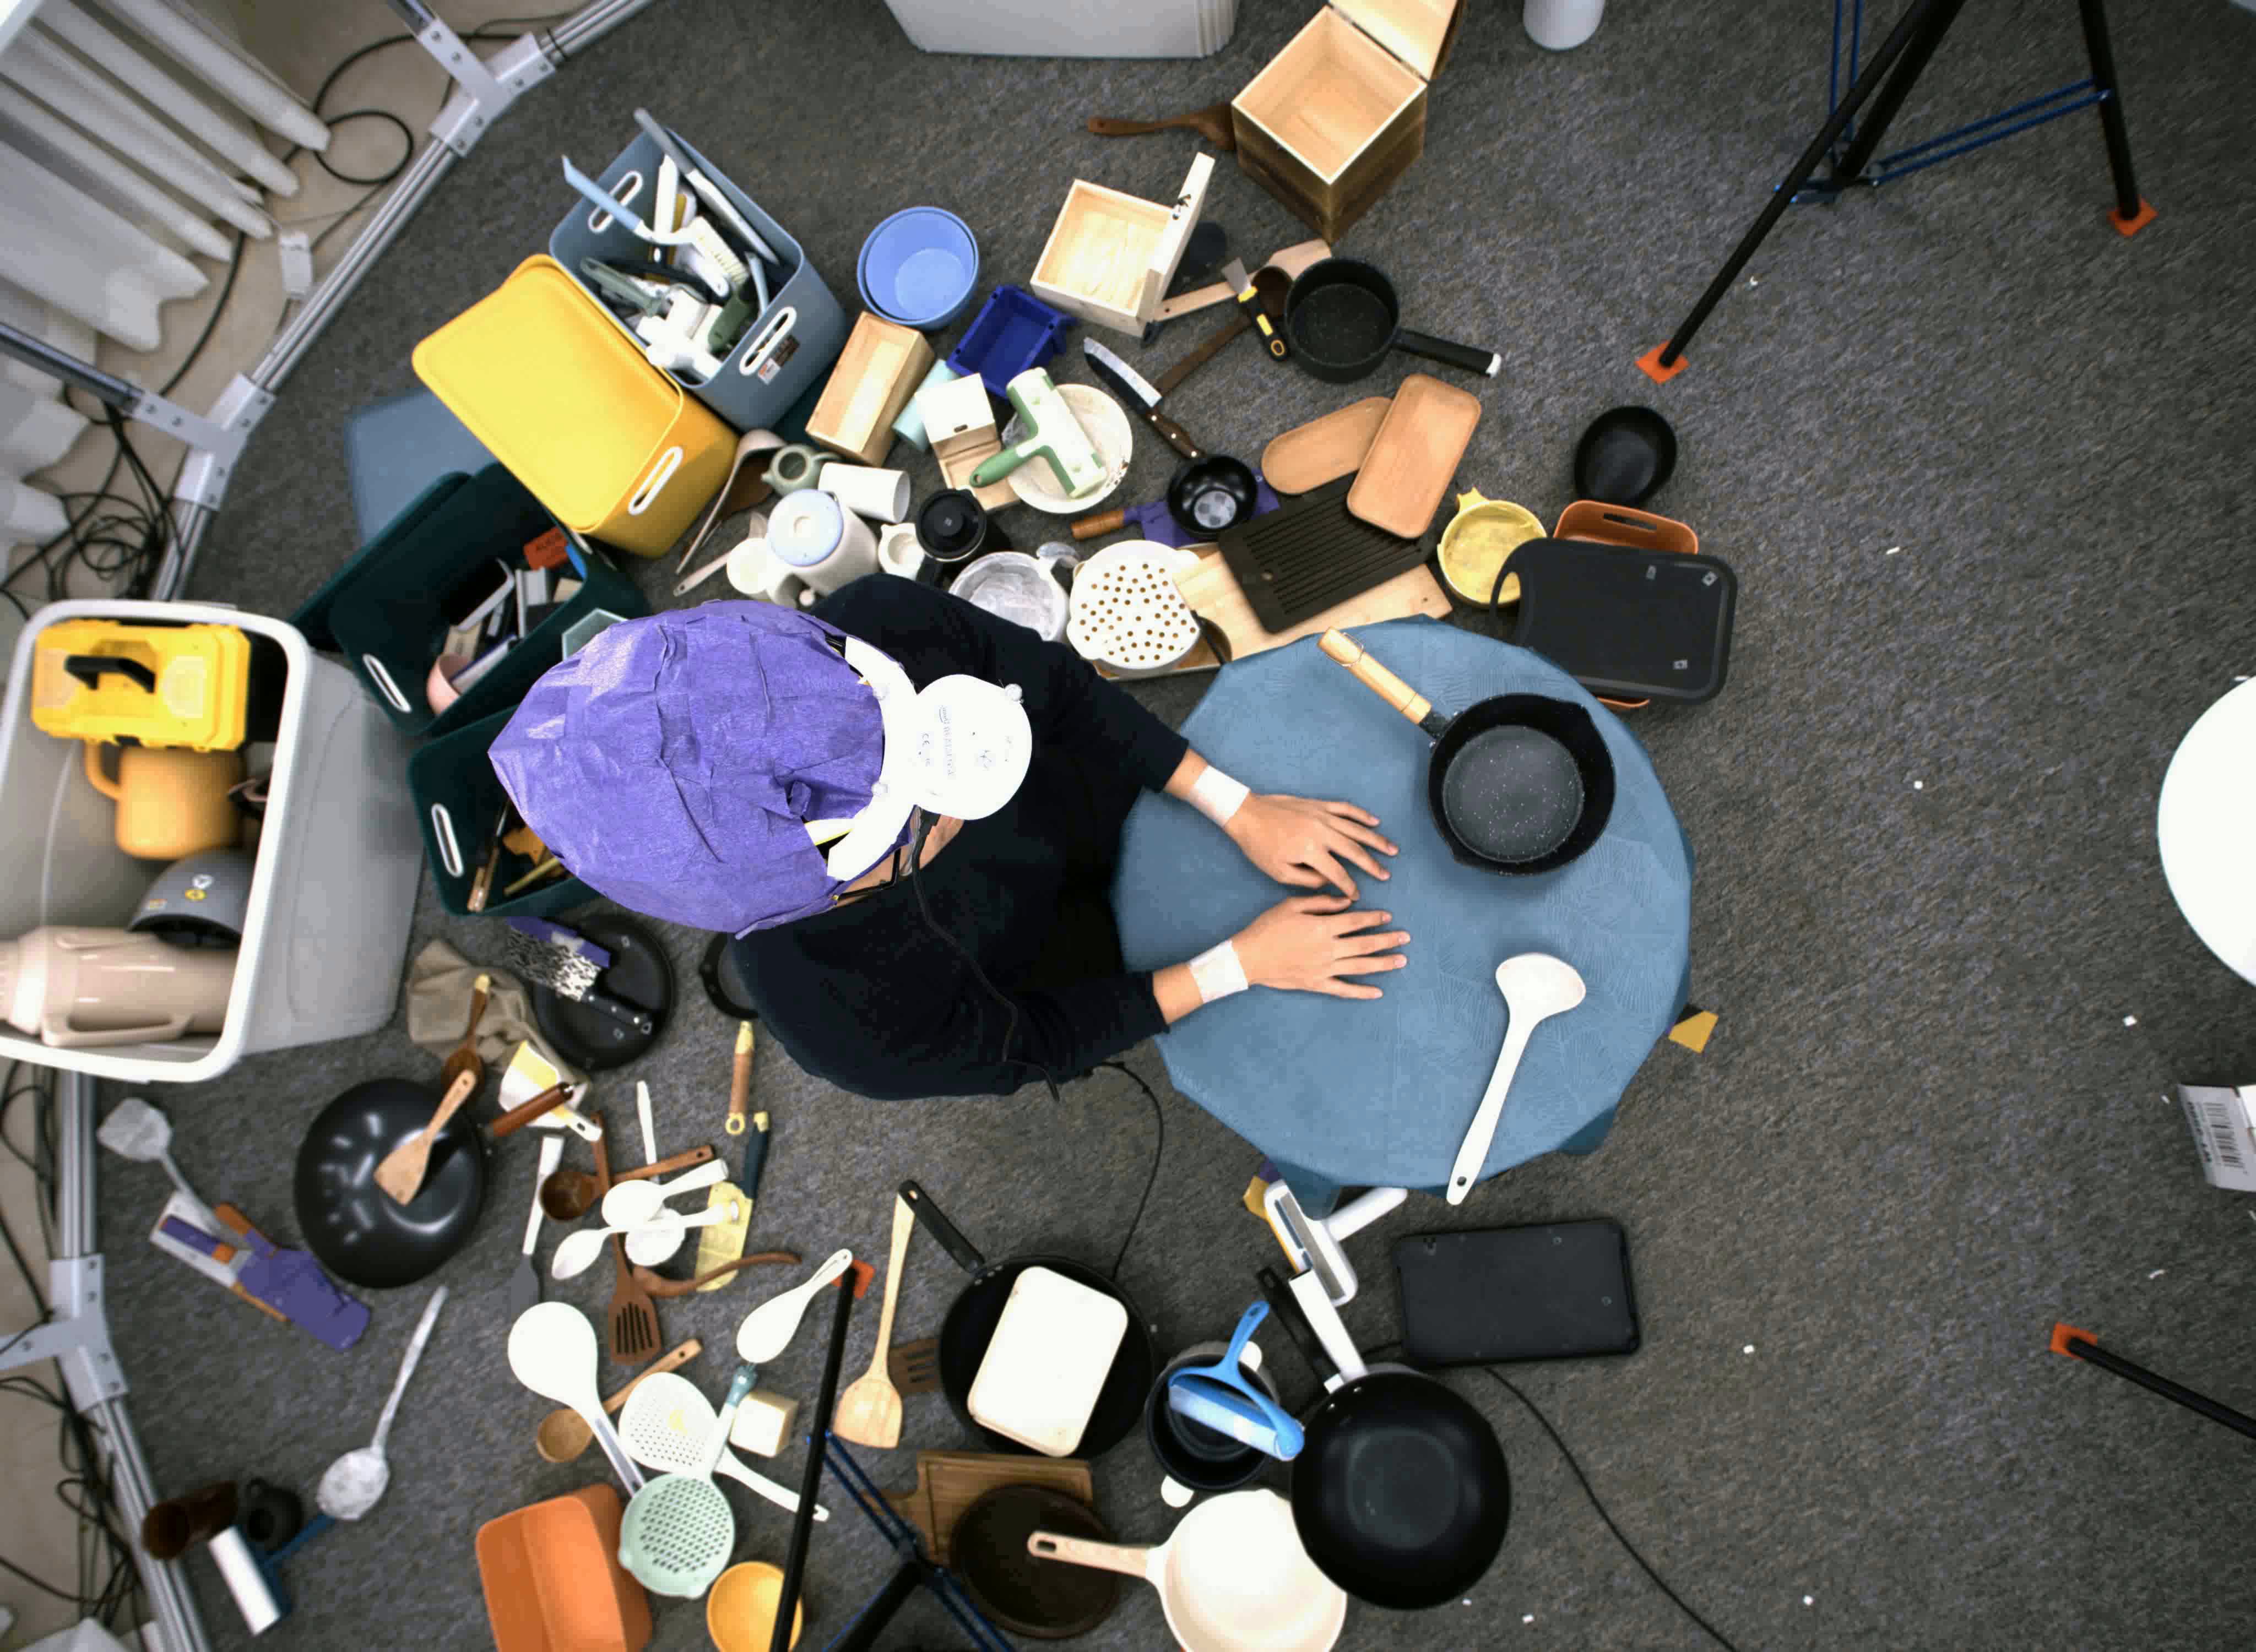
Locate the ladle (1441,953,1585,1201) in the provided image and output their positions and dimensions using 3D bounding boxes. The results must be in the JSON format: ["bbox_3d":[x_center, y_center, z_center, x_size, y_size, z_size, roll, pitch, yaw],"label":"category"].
[{"bbox_3d":[0.379,0.257,1.398,0.089,0.069,0.275,21,93,2],"label":"ladle"}]

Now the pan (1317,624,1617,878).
[{"bbox_3d":[0.332,-0.088,1.402,0.342,0.108,0.208,37,94,9],"label":"pan"}]
